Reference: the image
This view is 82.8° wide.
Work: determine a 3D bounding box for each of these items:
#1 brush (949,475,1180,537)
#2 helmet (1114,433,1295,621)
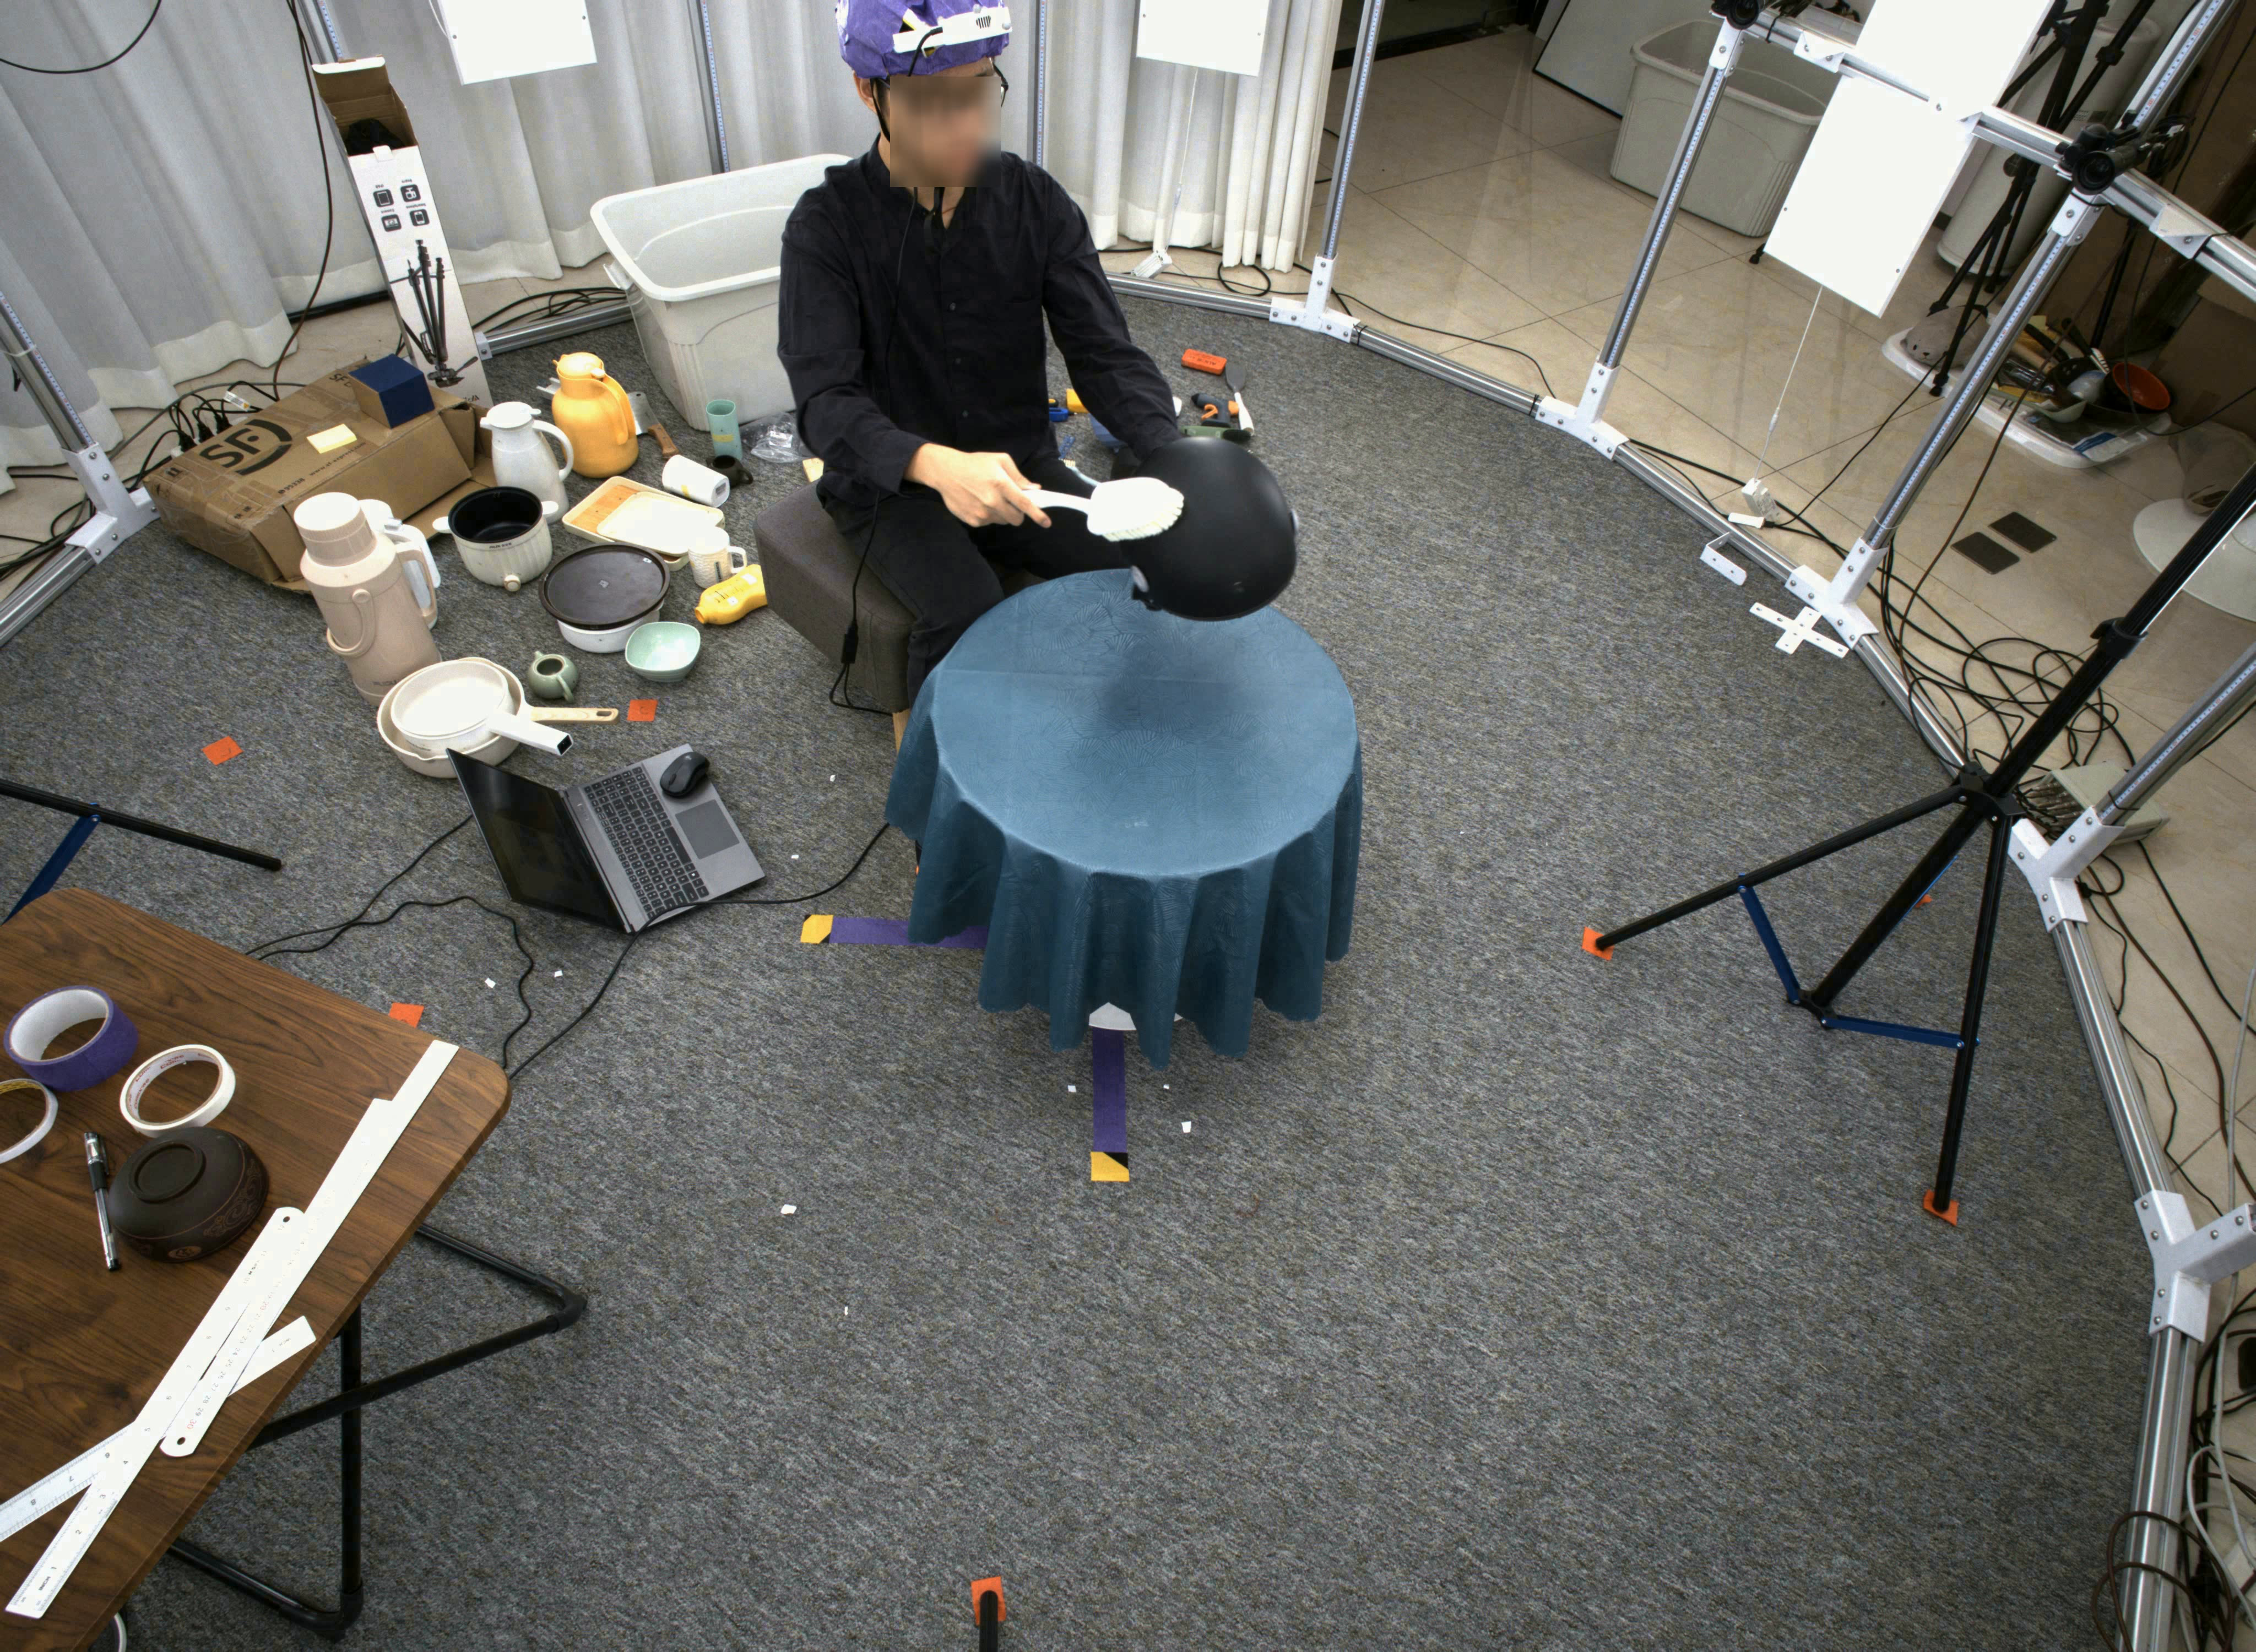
[{"bbox_3d":[-0.079,-0.410,1.648,0.327,0.082,0.084,5,46,28],"label":"brush"},{"bbox_3d":[0.092,-0.407,1.672,0.230,0.162,0.280,-19,47,-1],"label":"helmet"}]
